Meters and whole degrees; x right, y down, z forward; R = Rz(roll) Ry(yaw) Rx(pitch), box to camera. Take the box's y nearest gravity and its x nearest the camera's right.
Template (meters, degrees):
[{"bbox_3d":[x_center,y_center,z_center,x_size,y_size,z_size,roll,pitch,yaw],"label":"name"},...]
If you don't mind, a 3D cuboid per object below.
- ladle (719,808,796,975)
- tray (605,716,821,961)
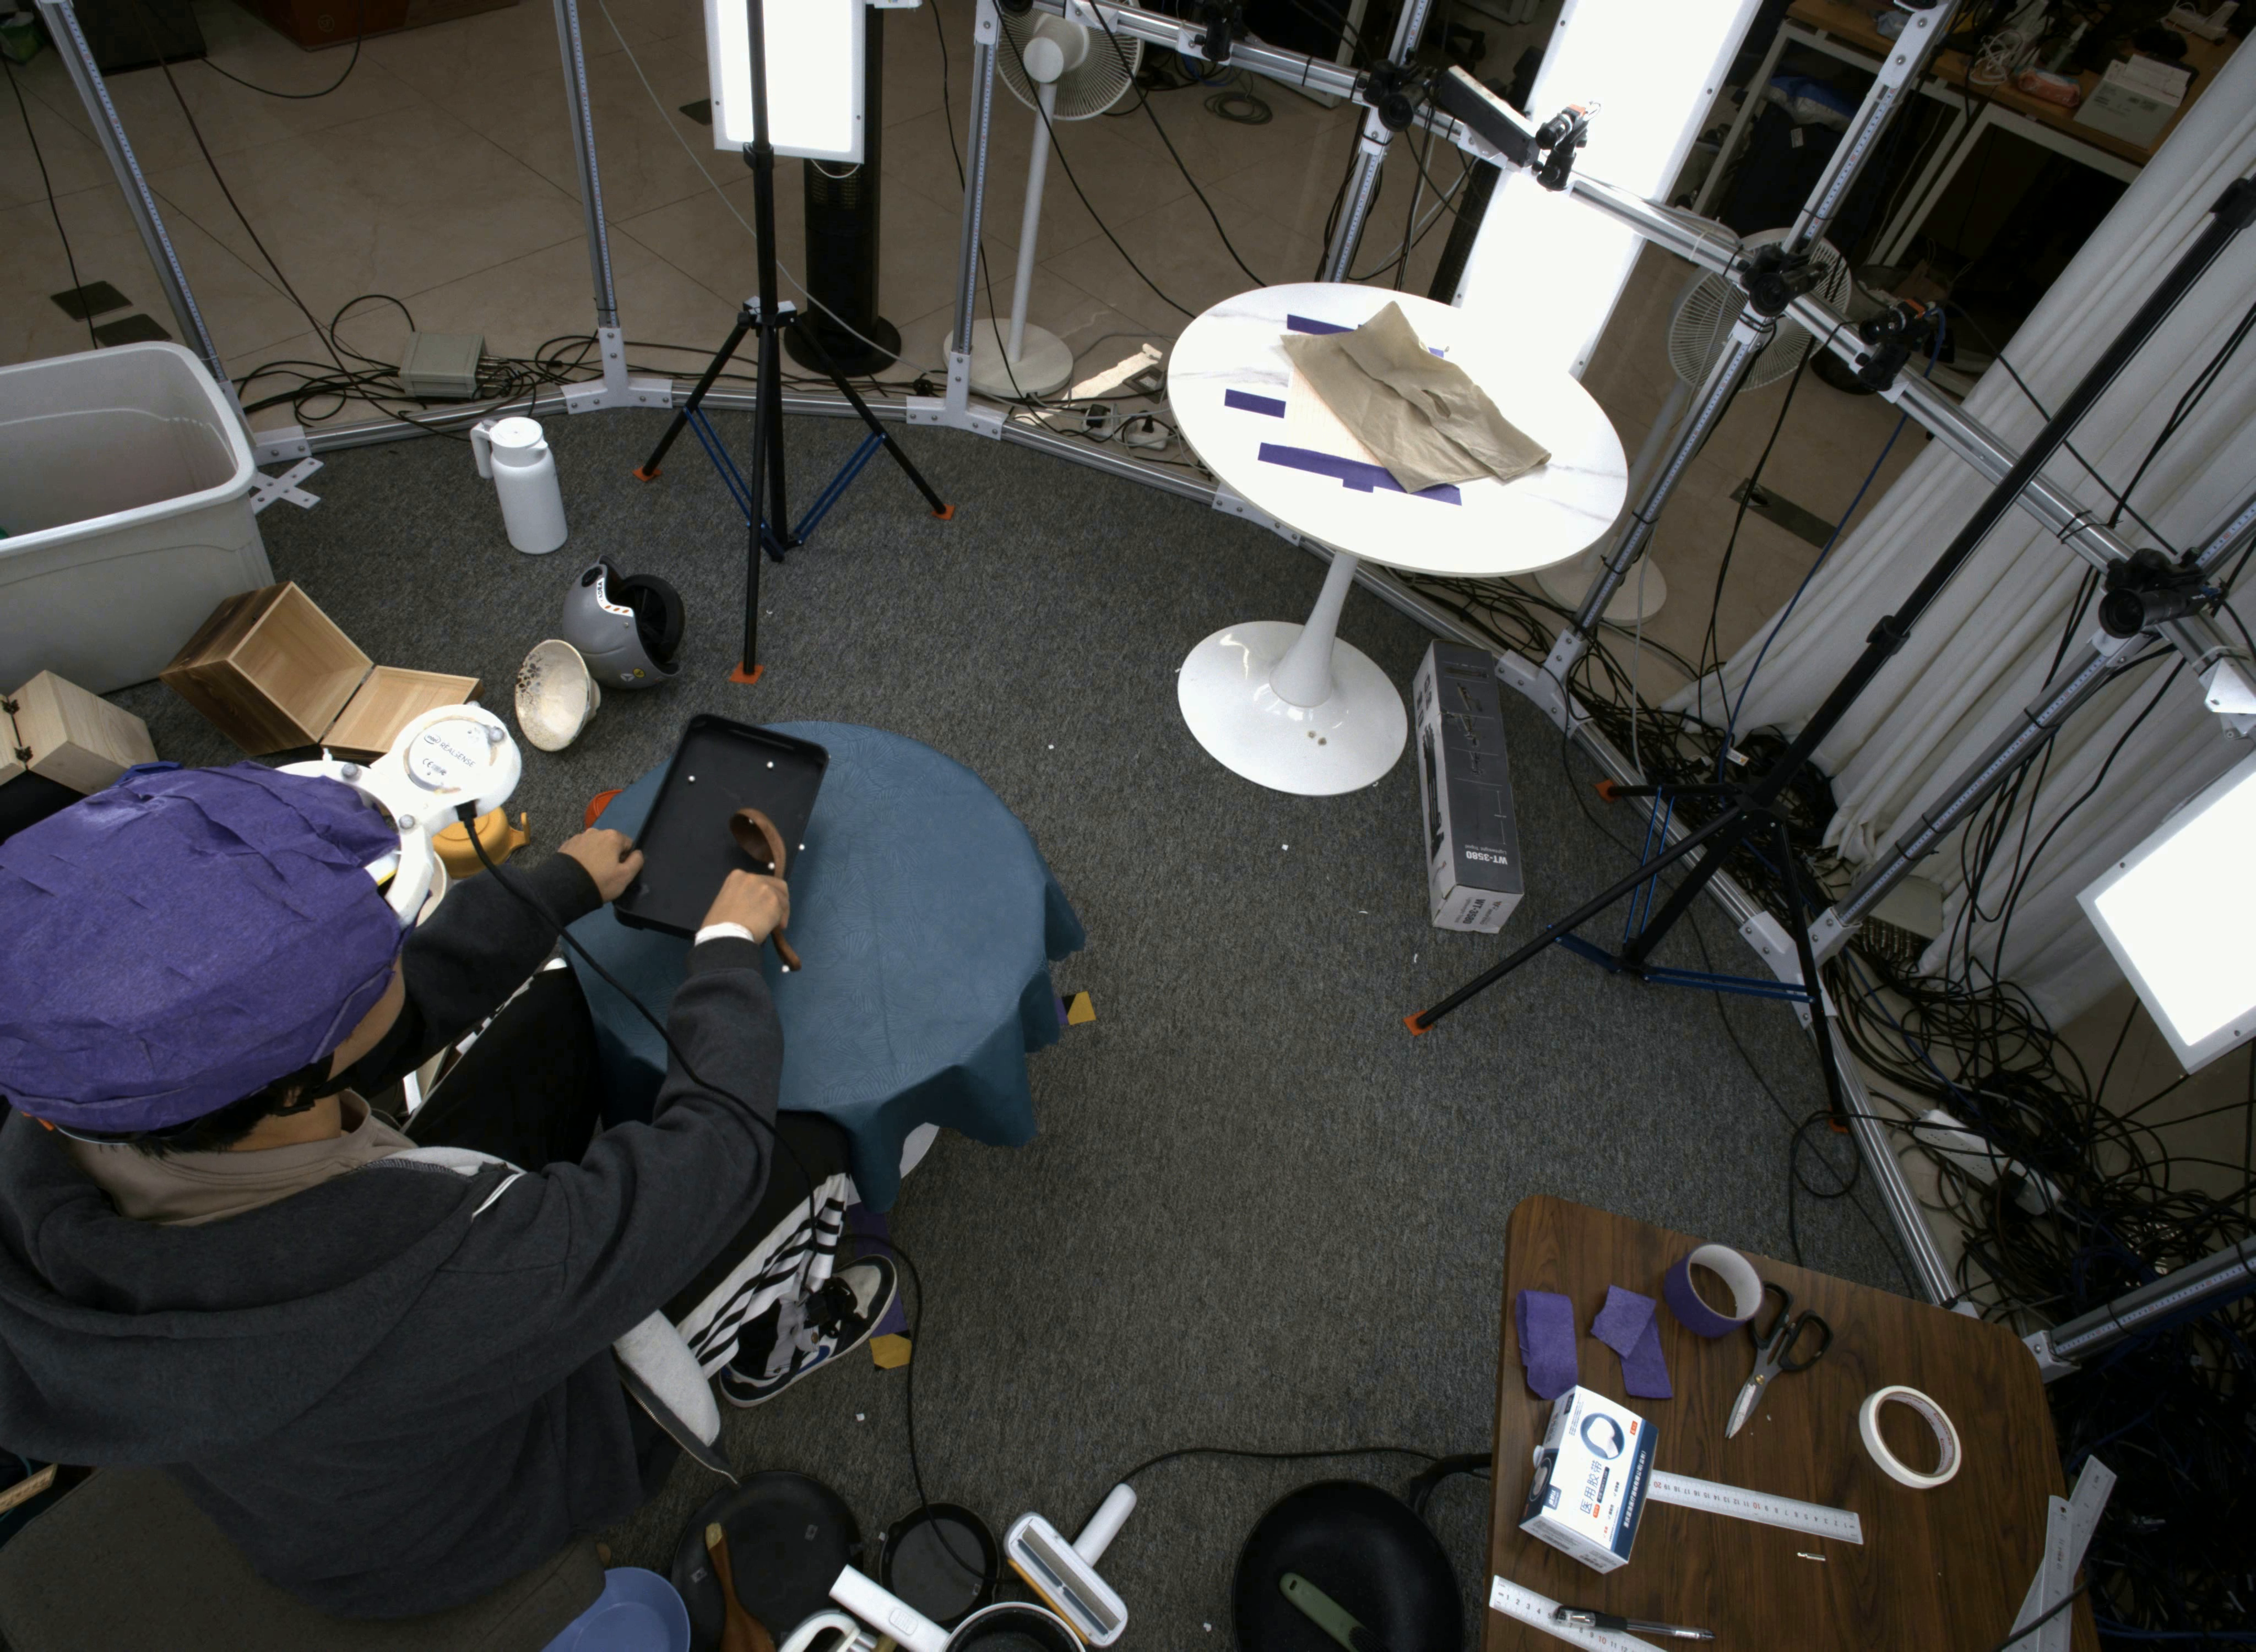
[{"bbox_3d":[-0.427,0.076,1.483,0.065,0.079,0.252,-10,45,-14],"label":"ladle"},{"bbox_3d":[-0.497,0.008,1.563,0.185,0.037,0.313,17,49,-11],"label":"tray"}]
